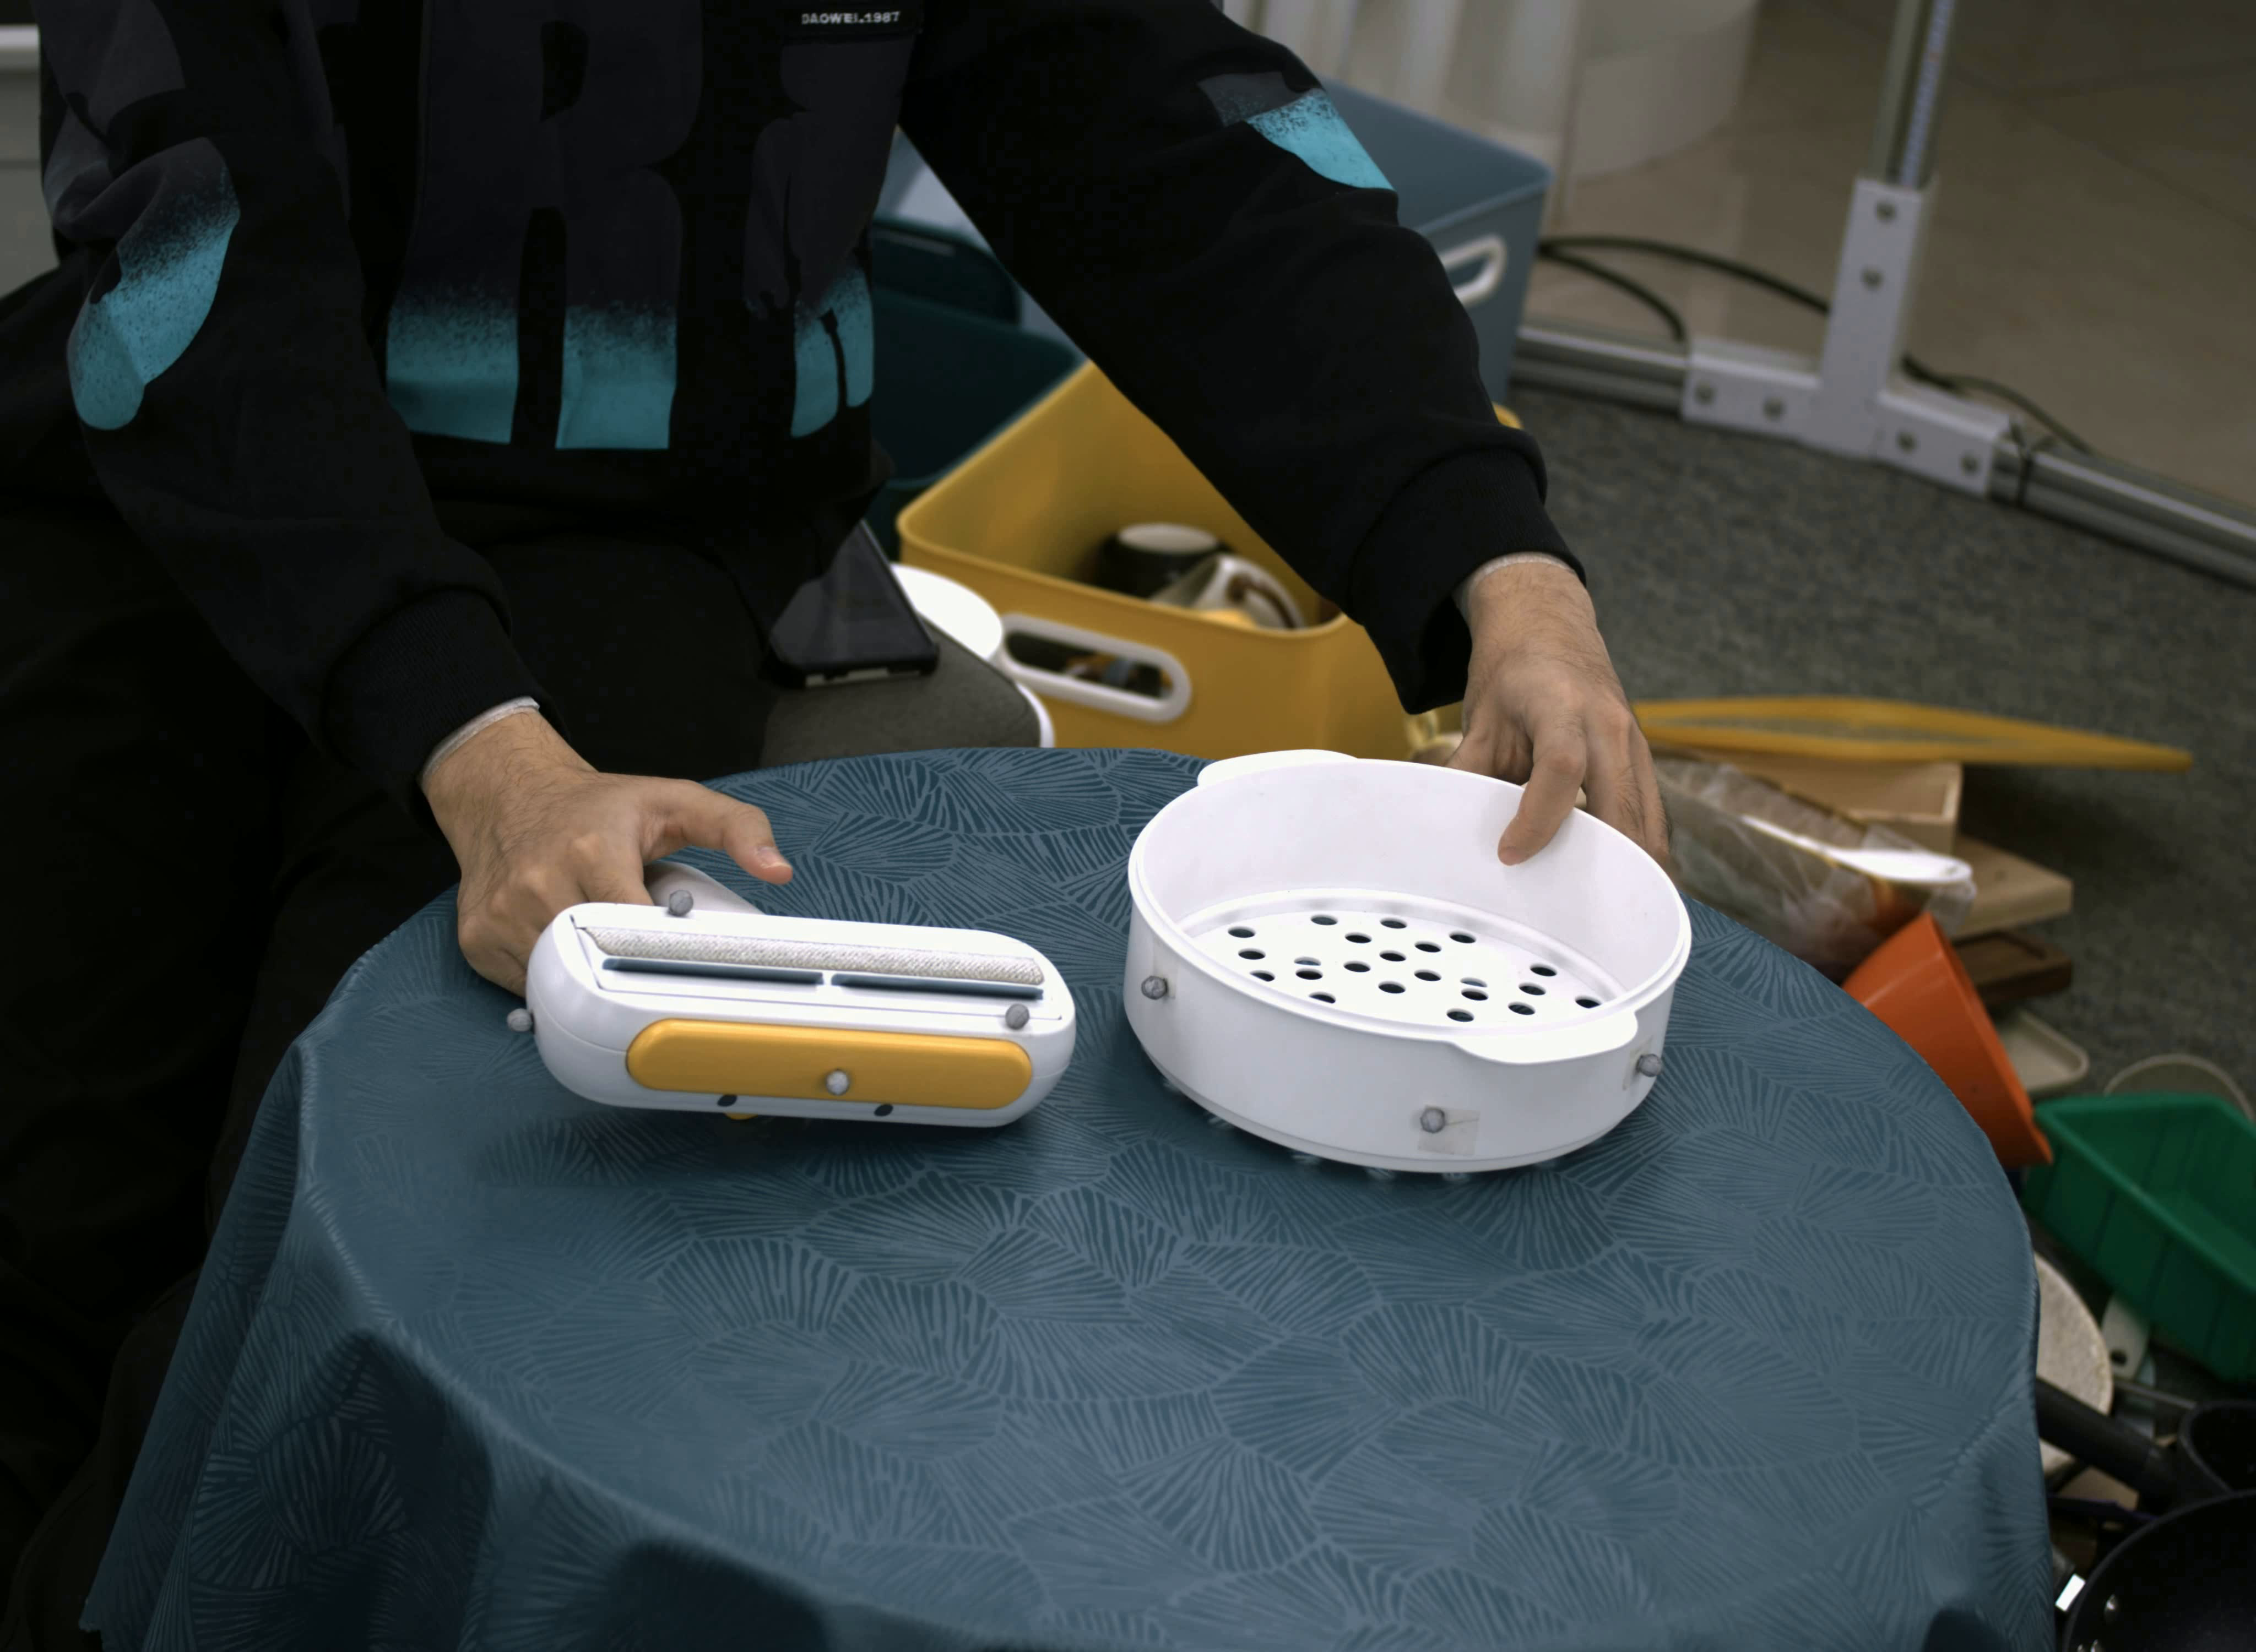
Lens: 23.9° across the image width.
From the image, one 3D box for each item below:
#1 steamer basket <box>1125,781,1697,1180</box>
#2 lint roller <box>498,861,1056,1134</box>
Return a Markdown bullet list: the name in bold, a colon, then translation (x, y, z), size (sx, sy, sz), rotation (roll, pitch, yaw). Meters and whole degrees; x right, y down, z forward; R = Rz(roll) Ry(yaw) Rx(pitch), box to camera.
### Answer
- **steamer basket**: translation (0.098, 0.056, 1.886), size (0.200, 0.069, 0.232), rotation (-6, 26, -26)
- **lint roller**: translation (-0.136, 0.045, 1.849), size (0.191, 0.074, 0.194), rotation (2, 25, -20)
